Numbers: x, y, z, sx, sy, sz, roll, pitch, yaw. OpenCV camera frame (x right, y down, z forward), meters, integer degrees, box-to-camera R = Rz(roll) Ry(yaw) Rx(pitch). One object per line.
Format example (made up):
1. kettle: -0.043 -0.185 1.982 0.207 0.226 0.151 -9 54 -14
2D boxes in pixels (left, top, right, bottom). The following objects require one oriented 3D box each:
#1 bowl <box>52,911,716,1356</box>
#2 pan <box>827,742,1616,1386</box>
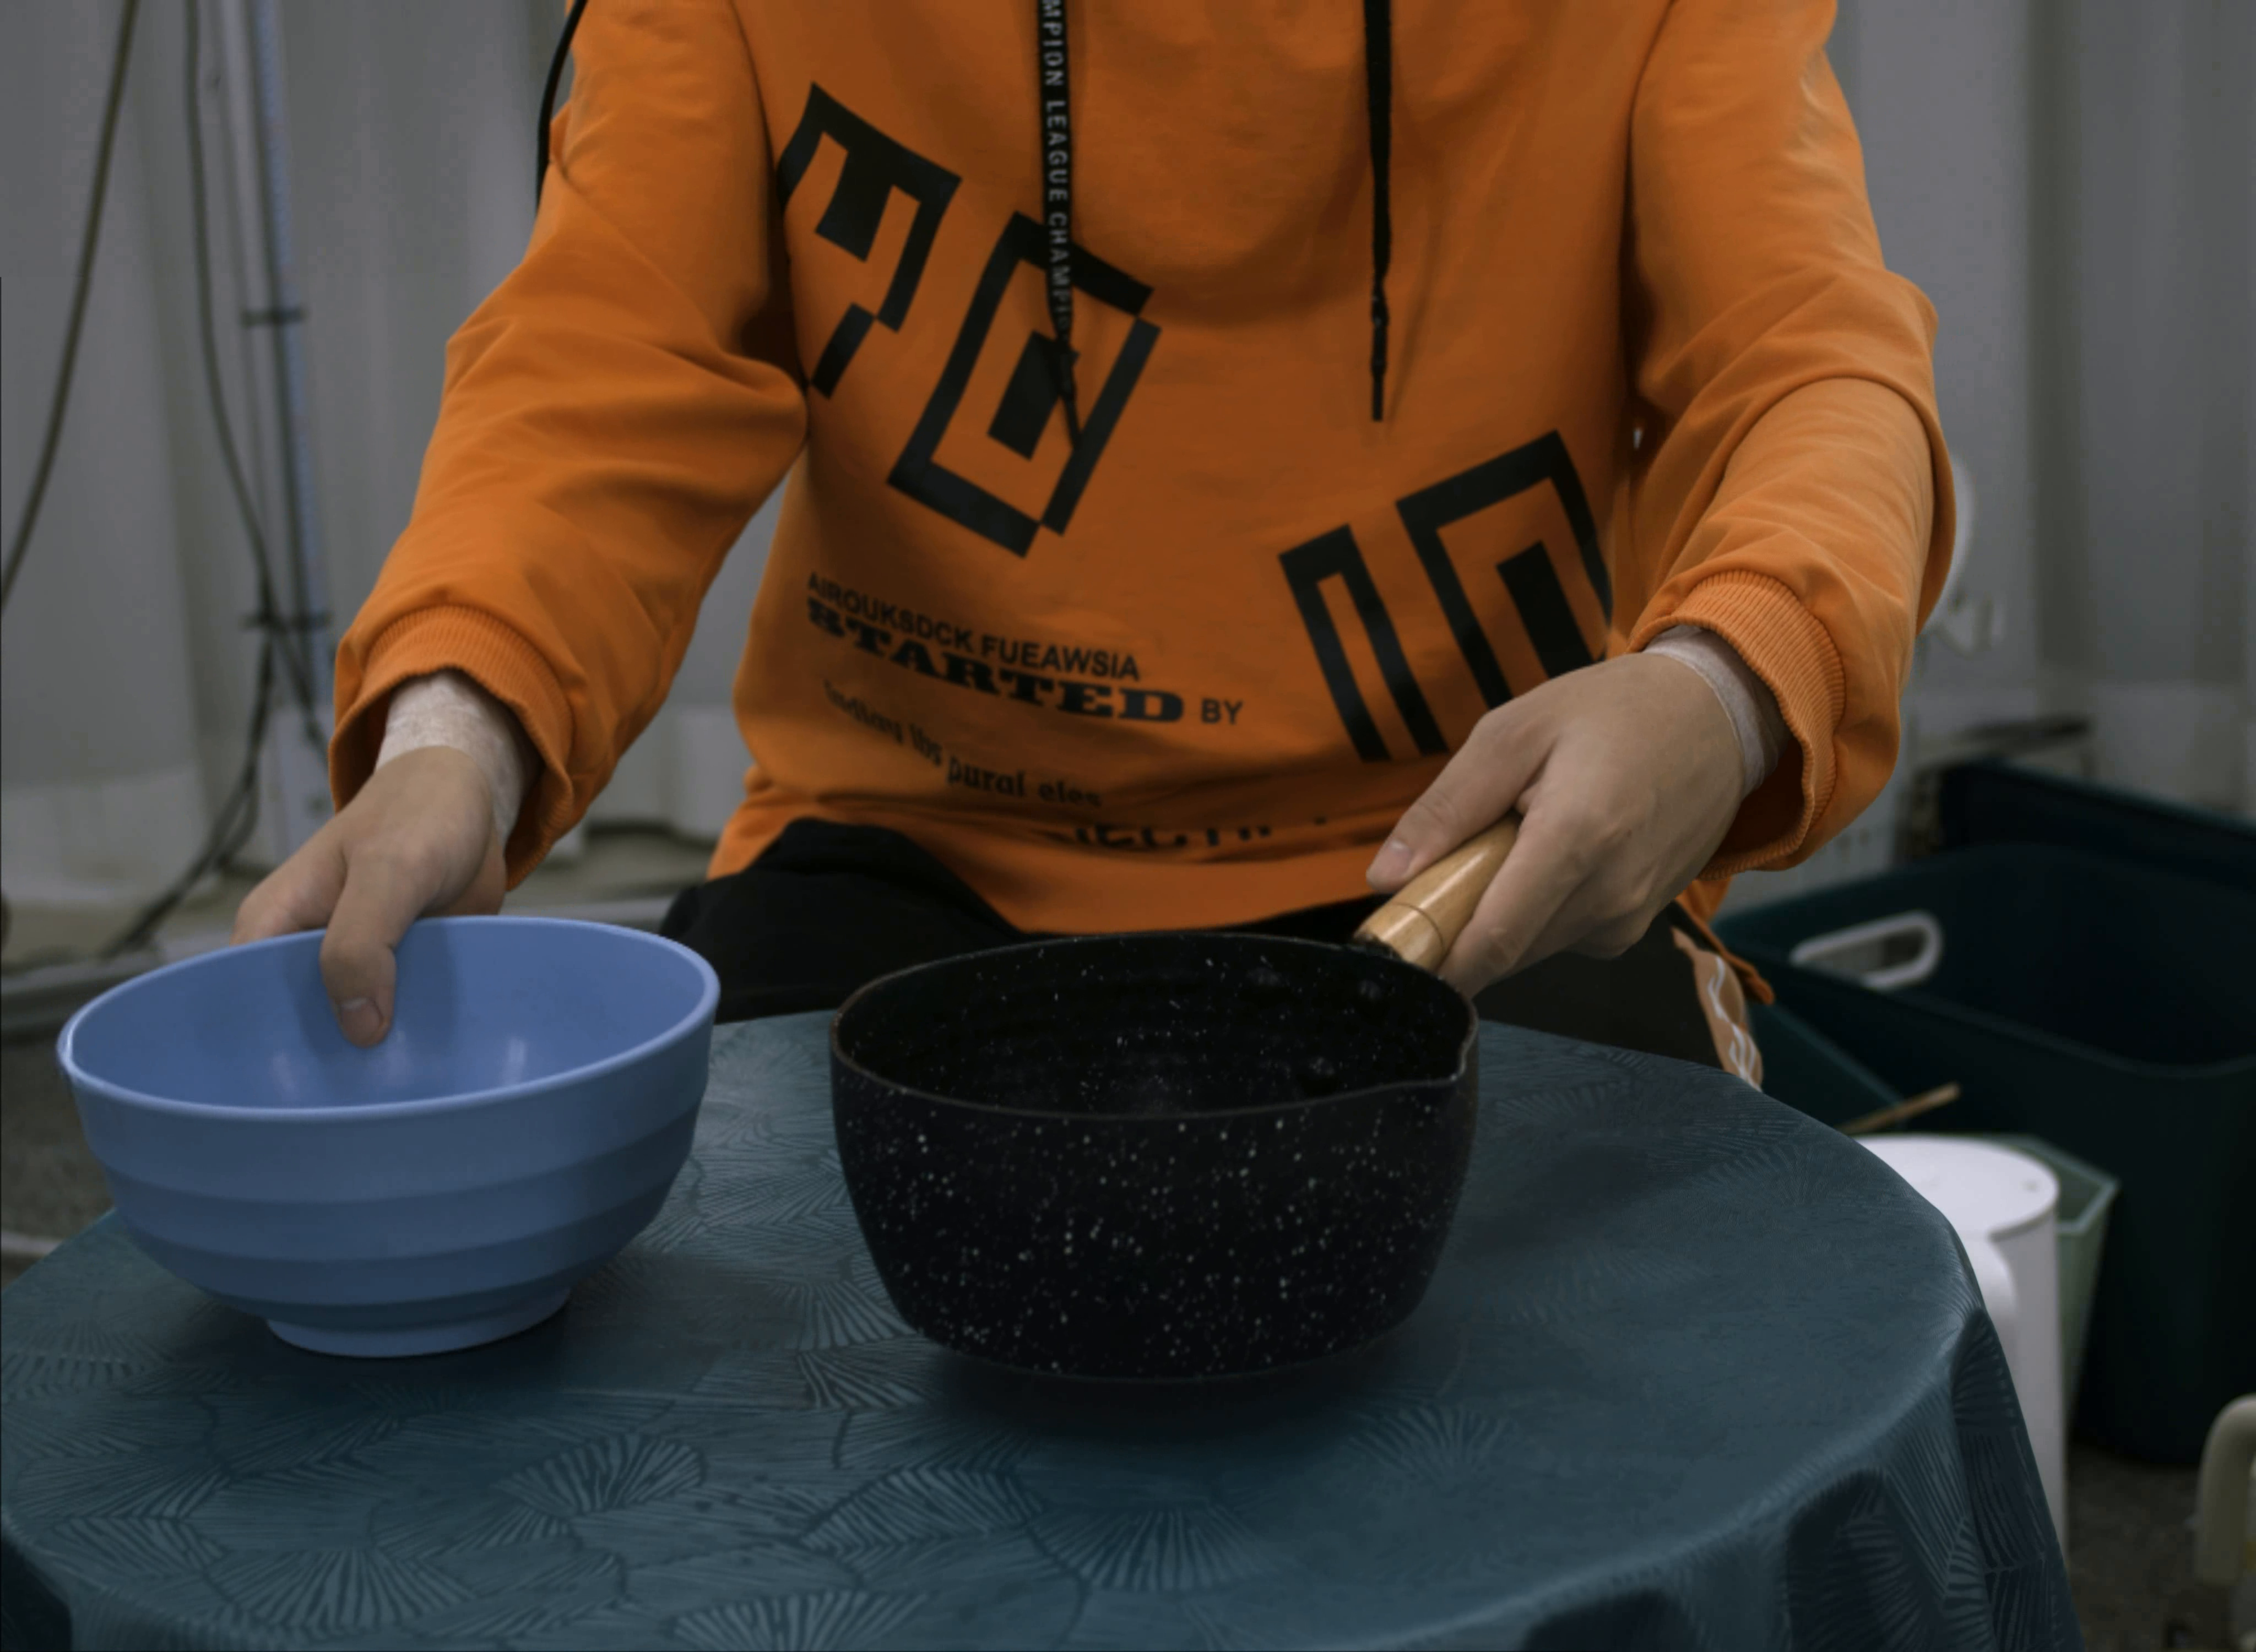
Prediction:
1. bowl: -0.217 0.098 1.633 0.196 0.095 0.198 -4 16 1
2. pan: 0.051 0.065 1.615 0.208 0.108 0.343 6 17 32
